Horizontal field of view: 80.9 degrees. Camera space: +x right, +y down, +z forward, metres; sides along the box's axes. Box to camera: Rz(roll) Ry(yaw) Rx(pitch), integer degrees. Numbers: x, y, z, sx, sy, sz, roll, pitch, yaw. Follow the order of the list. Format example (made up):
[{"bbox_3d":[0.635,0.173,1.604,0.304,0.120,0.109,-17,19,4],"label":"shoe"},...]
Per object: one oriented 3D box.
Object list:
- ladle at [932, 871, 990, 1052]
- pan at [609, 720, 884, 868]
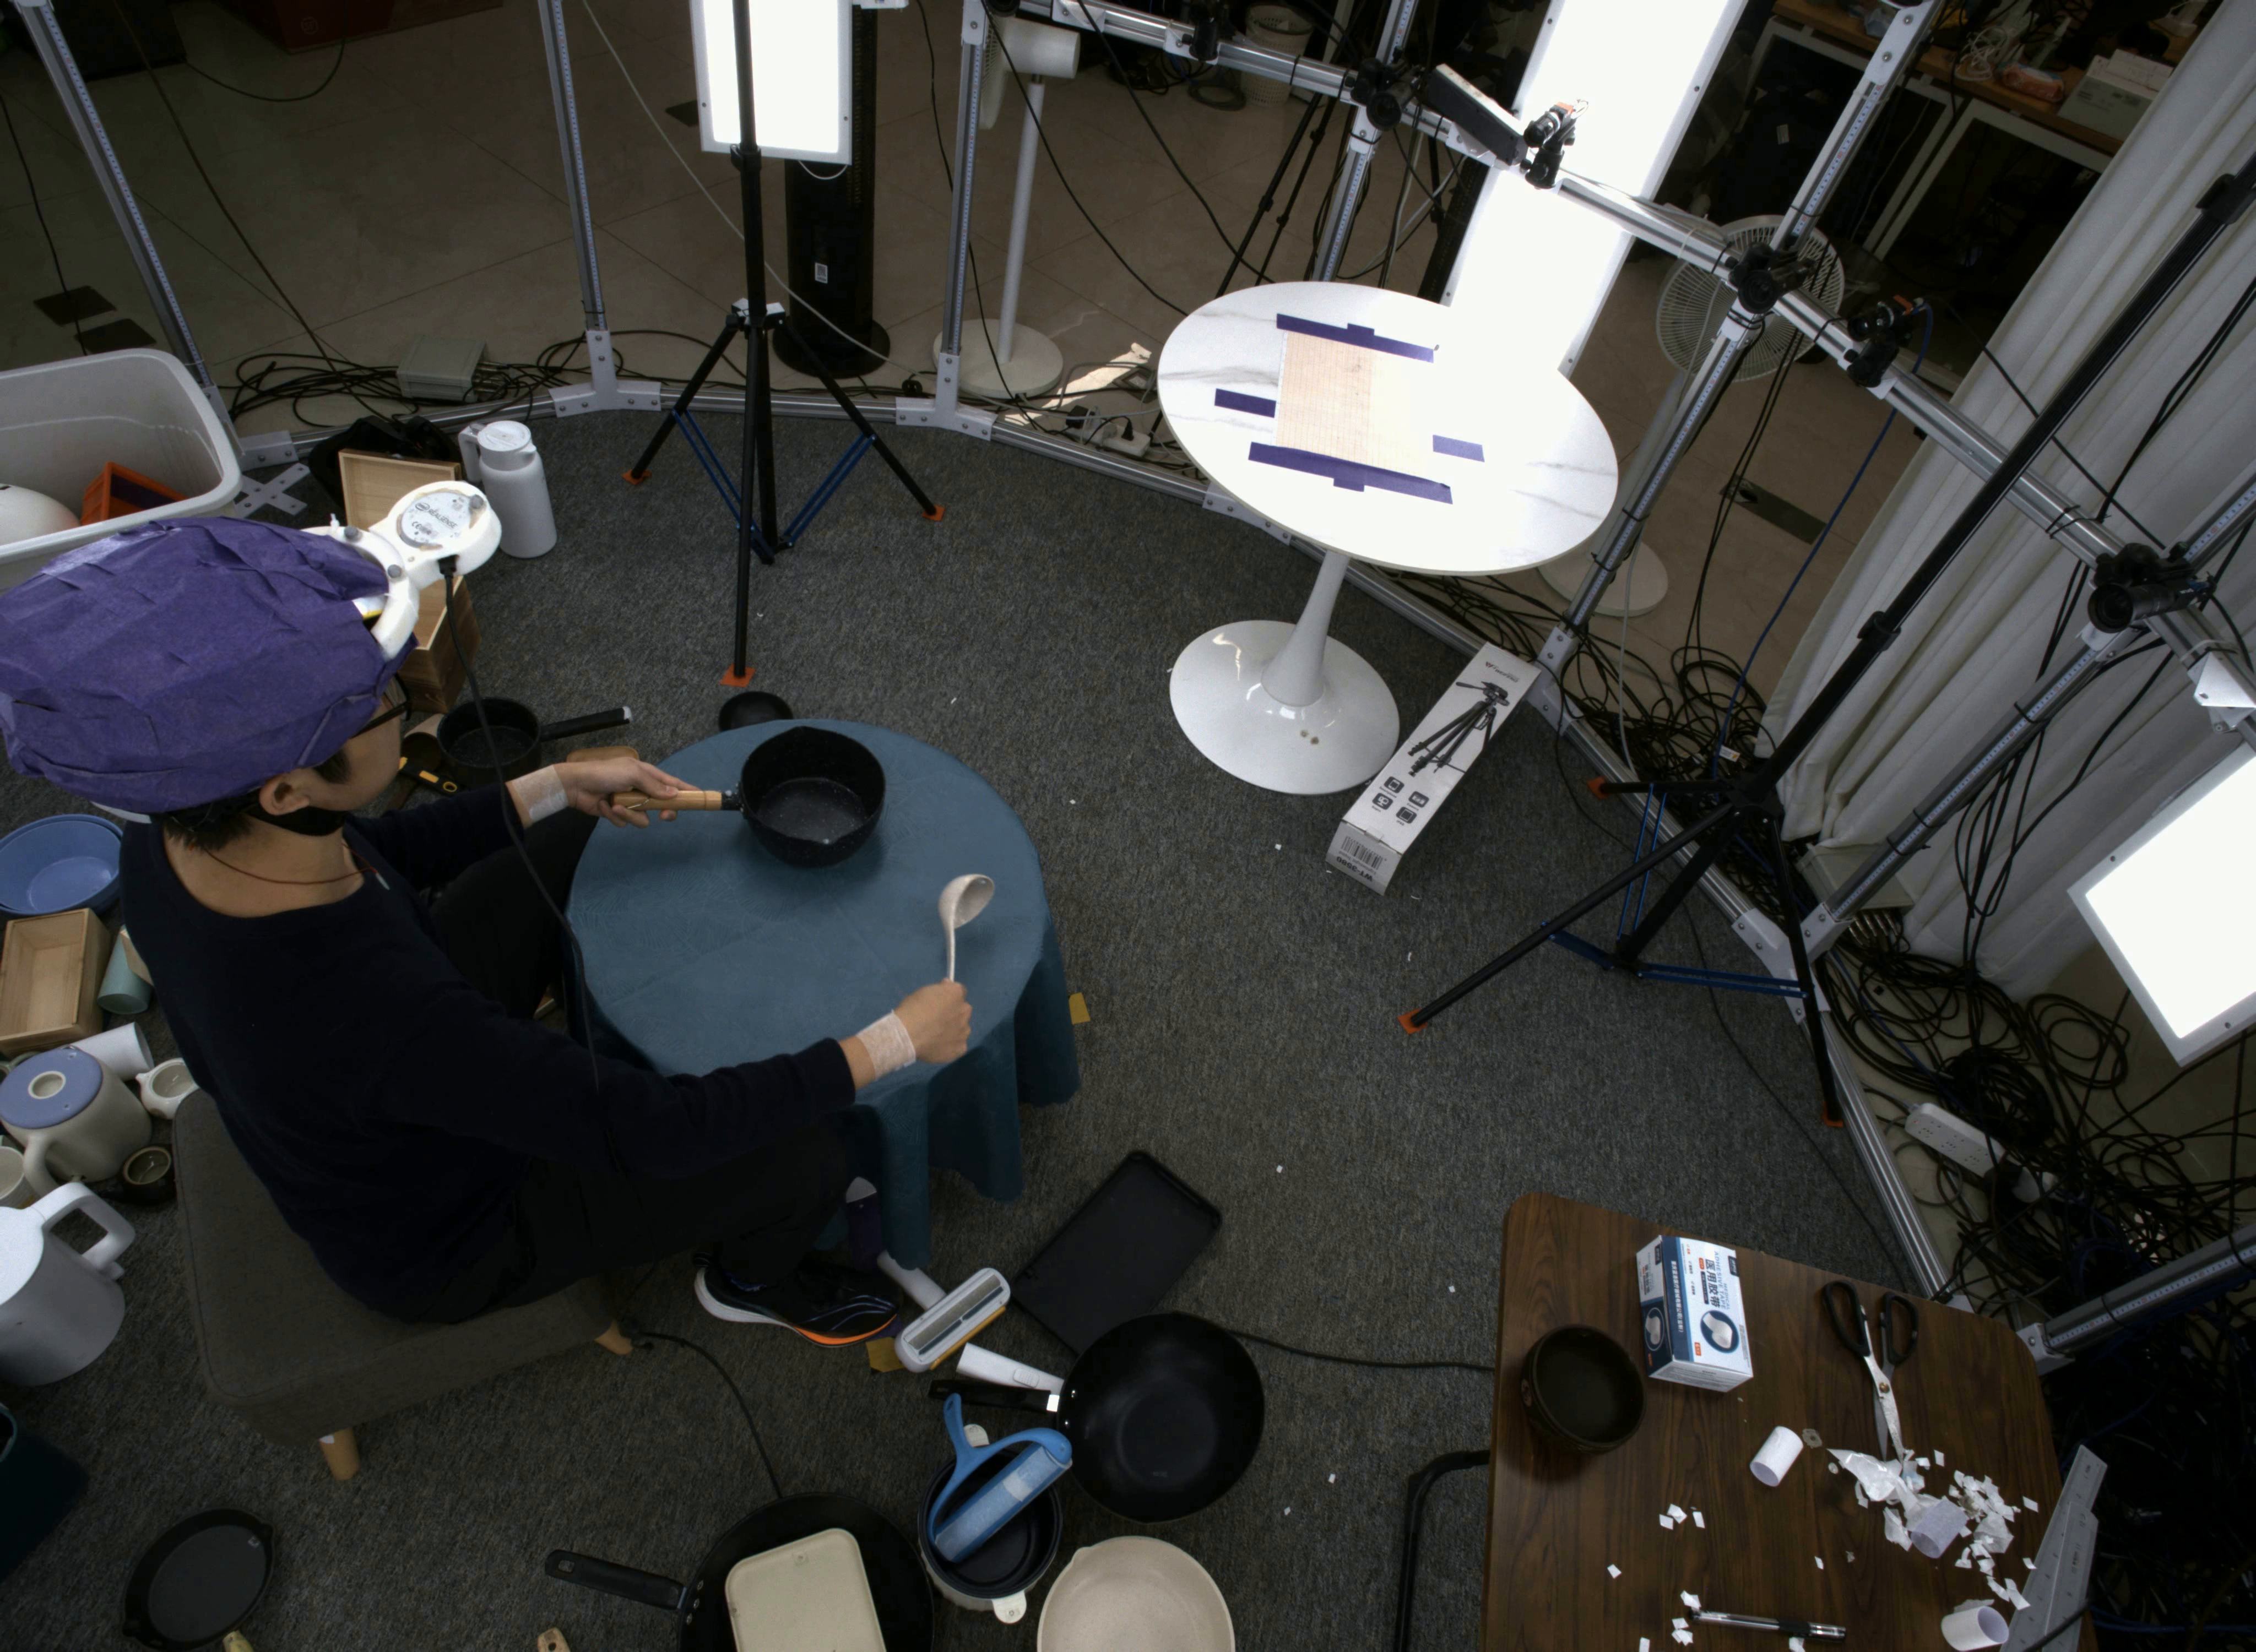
[{"bbox_3d":[-0.196,0.161,1.543,0.070,0.090,0.268,14,39,-20],"label":"ladle"},{"bbox_3d":[-0.482,-0.028,1.643,0.345,0.110,0.202,-8,57,-25],"label":"pan"}]
